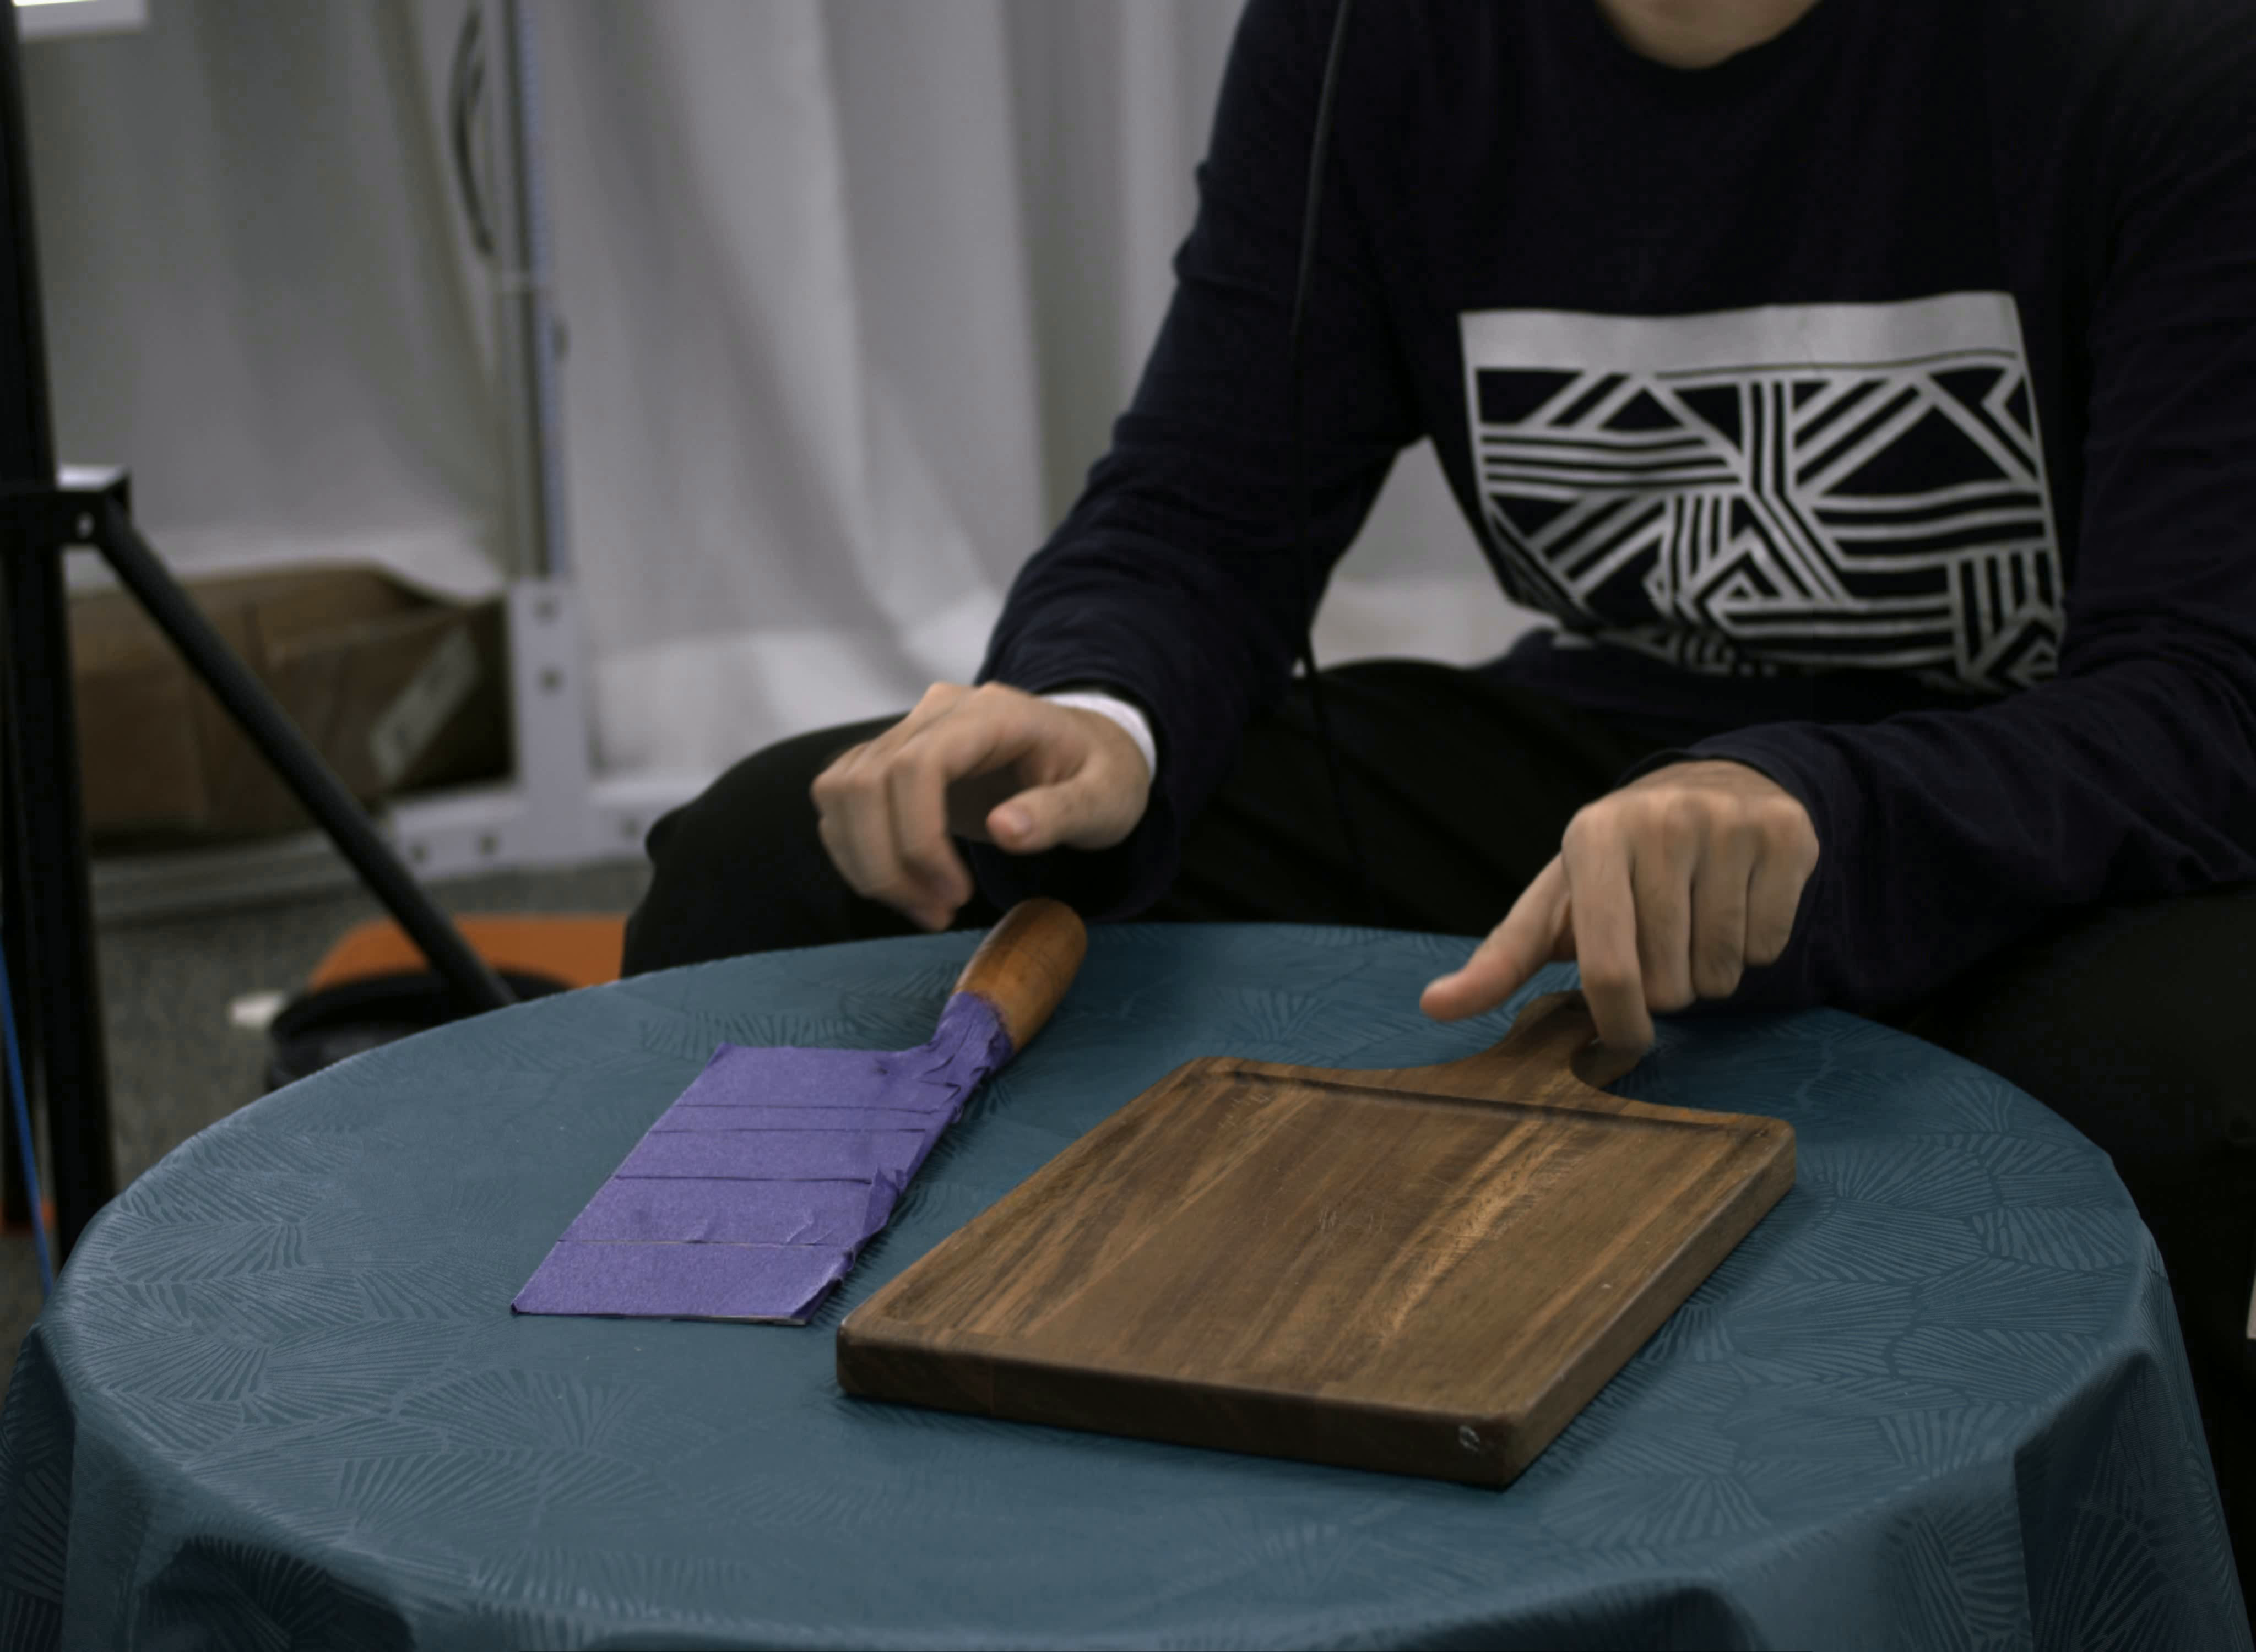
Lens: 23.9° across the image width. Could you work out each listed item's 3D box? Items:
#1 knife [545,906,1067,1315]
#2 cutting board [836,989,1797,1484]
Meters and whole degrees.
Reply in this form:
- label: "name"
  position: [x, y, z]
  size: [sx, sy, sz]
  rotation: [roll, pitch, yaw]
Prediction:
- label: "knife"
  position: [-0.095, 0.083, 1.616]
  size: [0.104, 0.032, 0.313]
  rotation: [2, 17, 13]
- label: "cutting board"
  position: [0.079, 0.106, 1.518]
  size: [0.204, 0.023, 0.347]
  rotation: [5, 17, 24]
